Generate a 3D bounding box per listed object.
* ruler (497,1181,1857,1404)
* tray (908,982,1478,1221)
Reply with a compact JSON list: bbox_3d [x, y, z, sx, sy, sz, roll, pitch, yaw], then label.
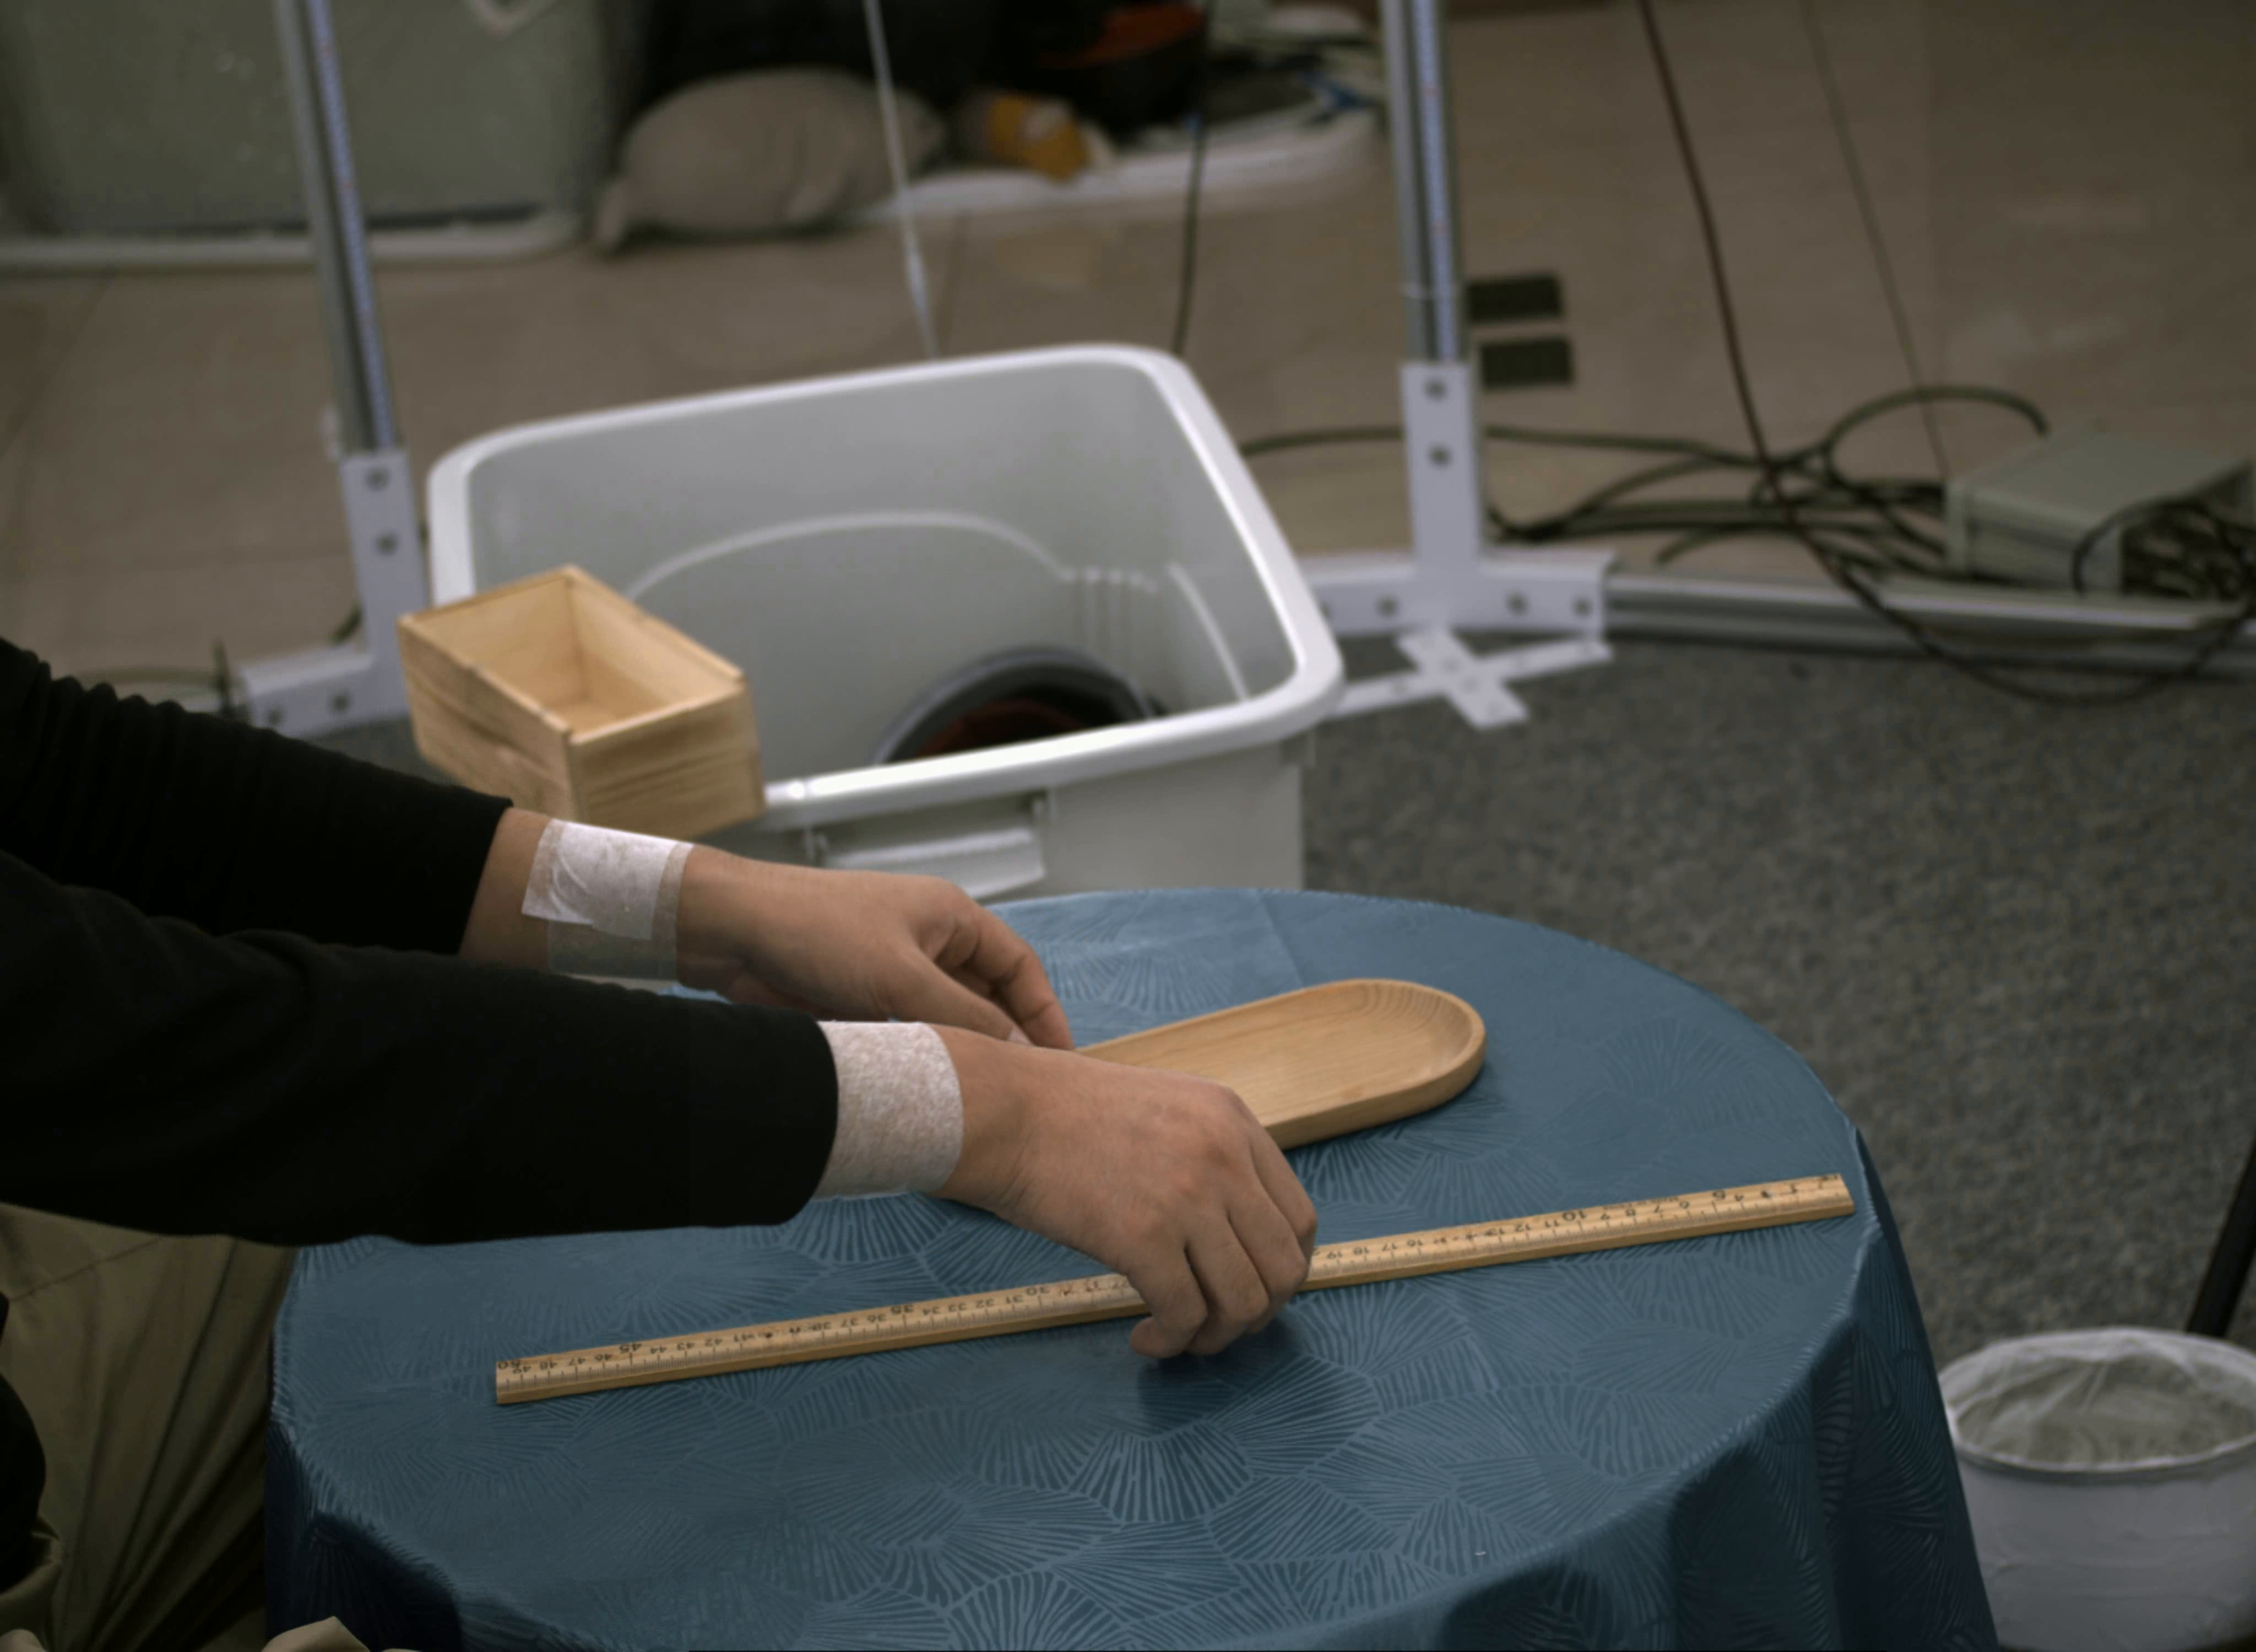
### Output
[{"bbox_3d":[0.018,0.169,2.074,0.499,0.006,0.026,-8,24,-2],"label":"ruler"},{"bbox_3d":[0.026,0.106,2.192,0.230,0.020,0.100,-17,25,-17],"label":"tray"}]
